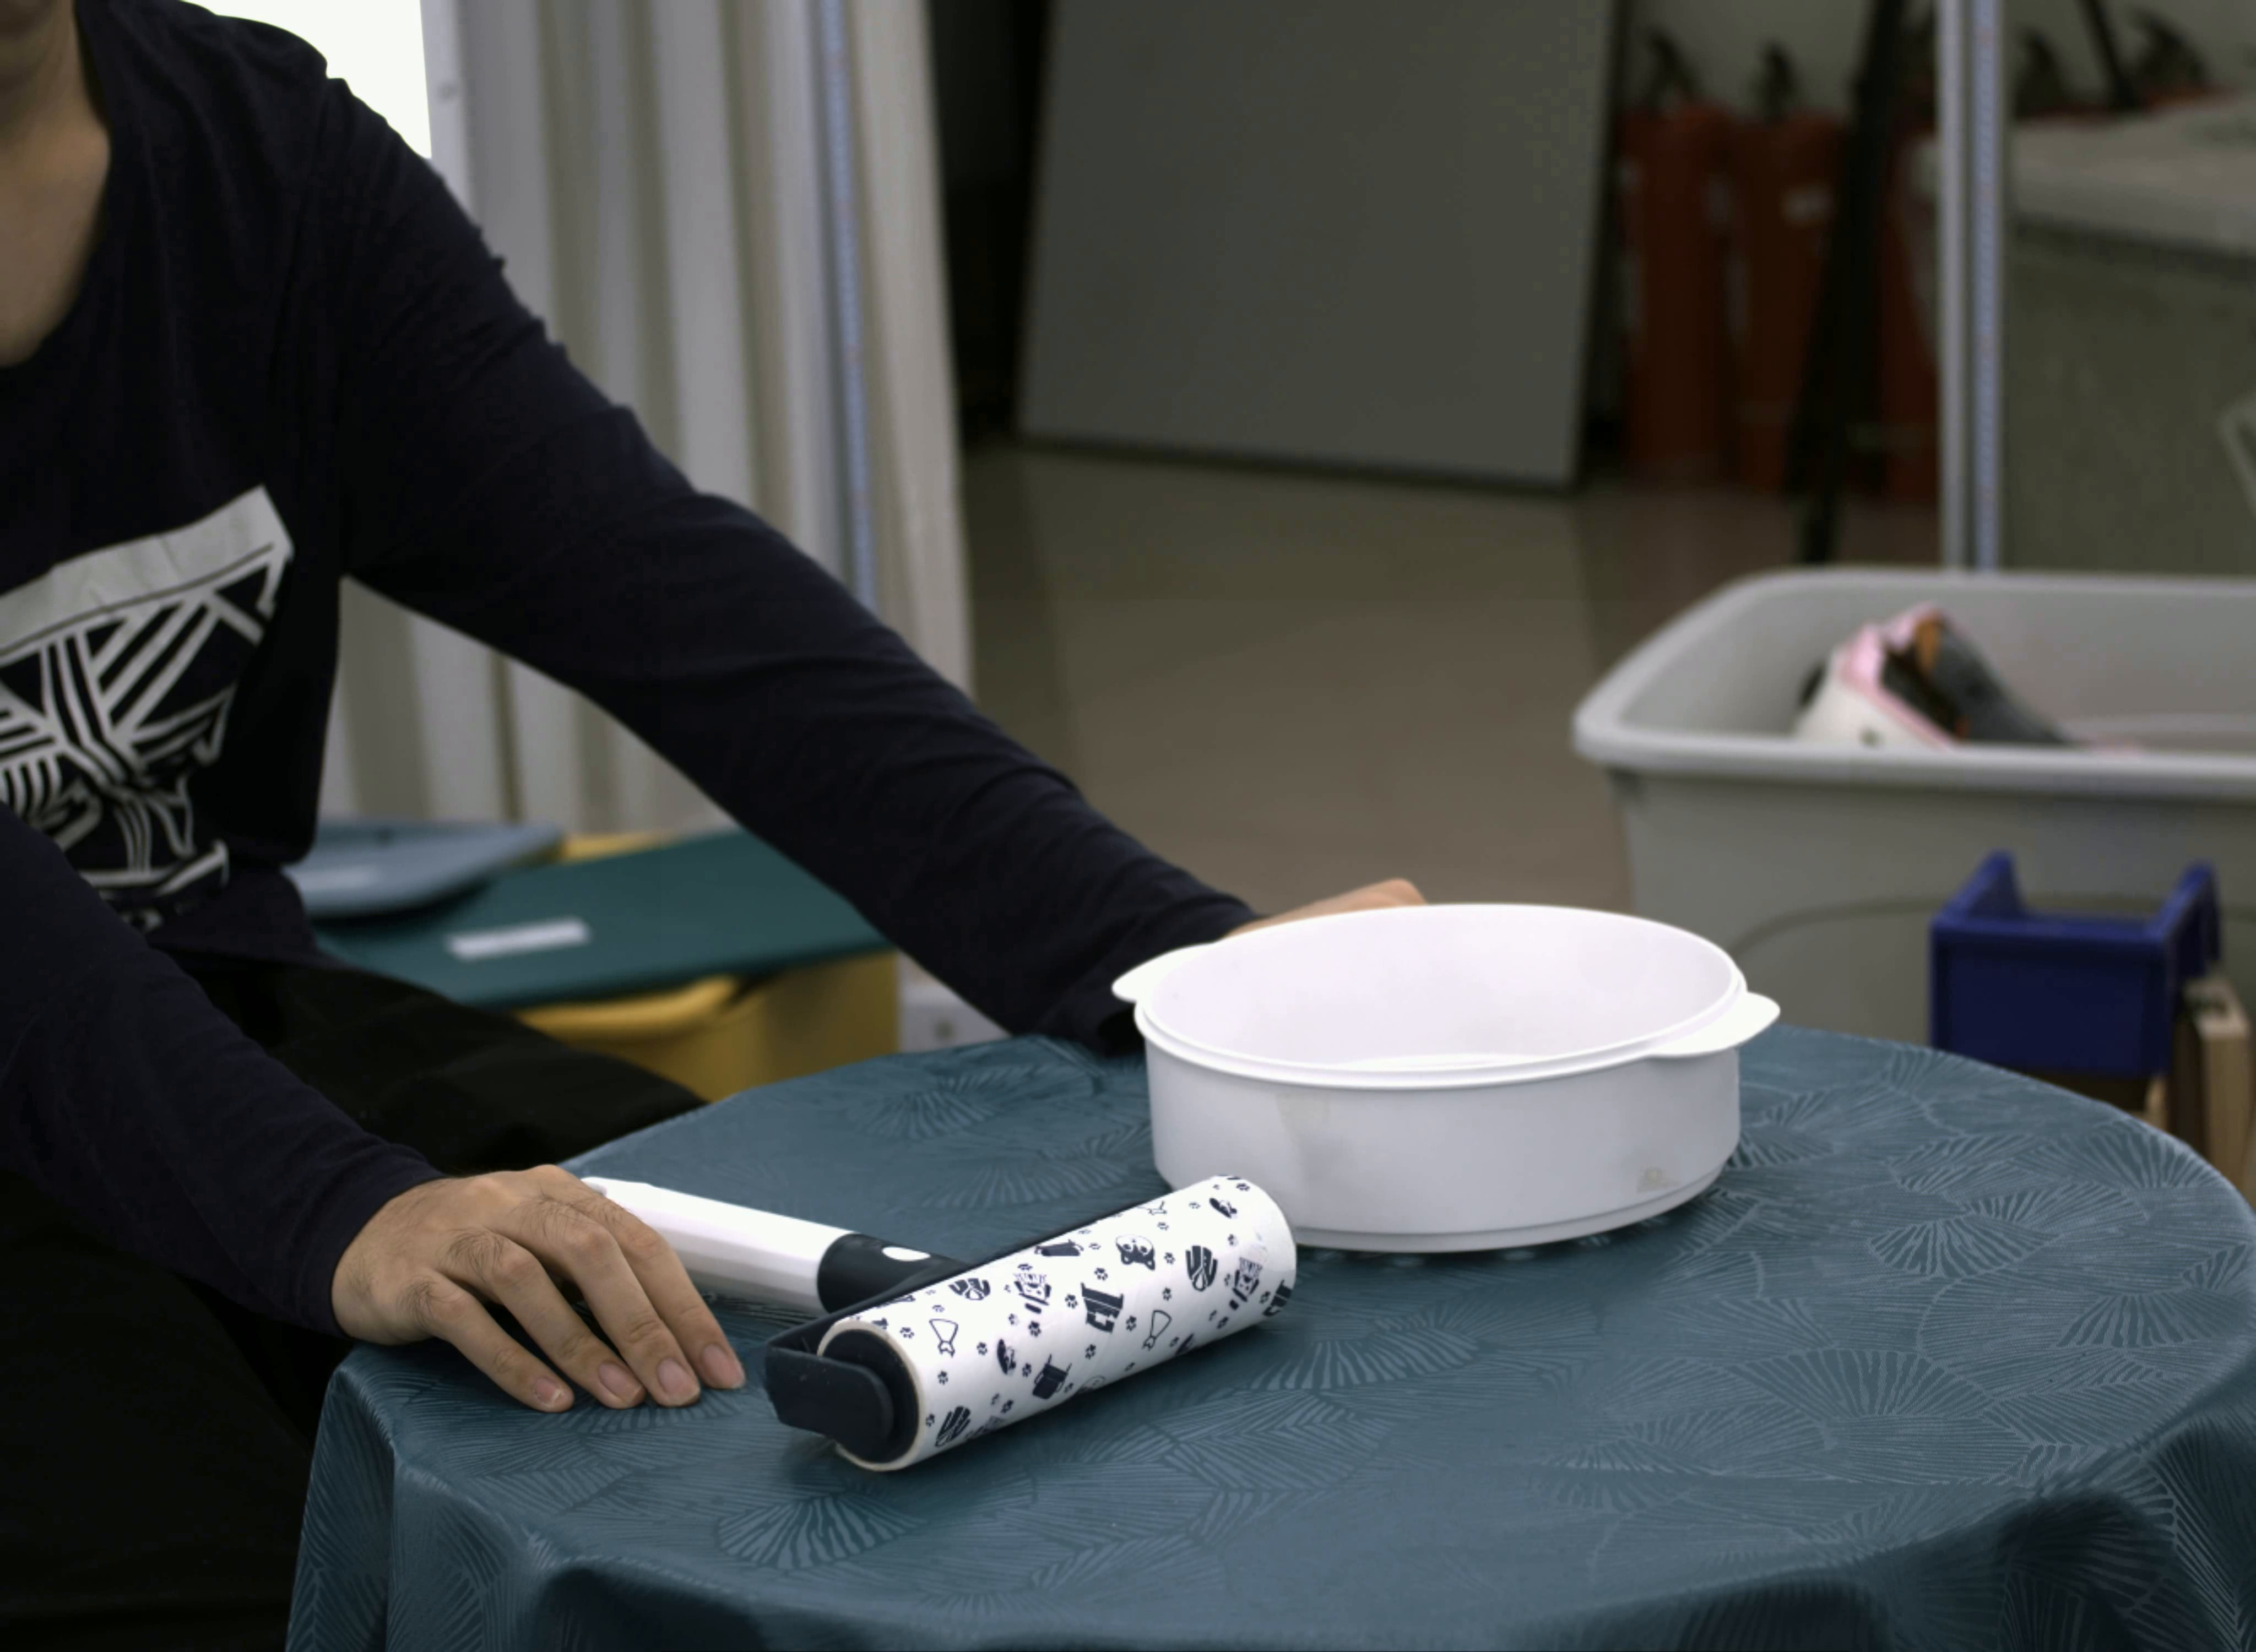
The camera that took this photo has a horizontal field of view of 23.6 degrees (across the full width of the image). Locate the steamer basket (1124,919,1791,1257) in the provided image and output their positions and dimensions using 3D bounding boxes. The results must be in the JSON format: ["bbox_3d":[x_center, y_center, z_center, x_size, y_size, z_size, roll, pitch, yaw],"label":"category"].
[{"bbox_3d":[0.107,0.085,1.756,0.231,0.070,0.198,1,13,32],"label":"steamer basket"}]

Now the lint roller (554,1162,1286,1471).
[{"bbox_3d":[-0.094,0.137,1.654,0.249,0.051,0.173,5,17,44],"label":"lint roller"}]
